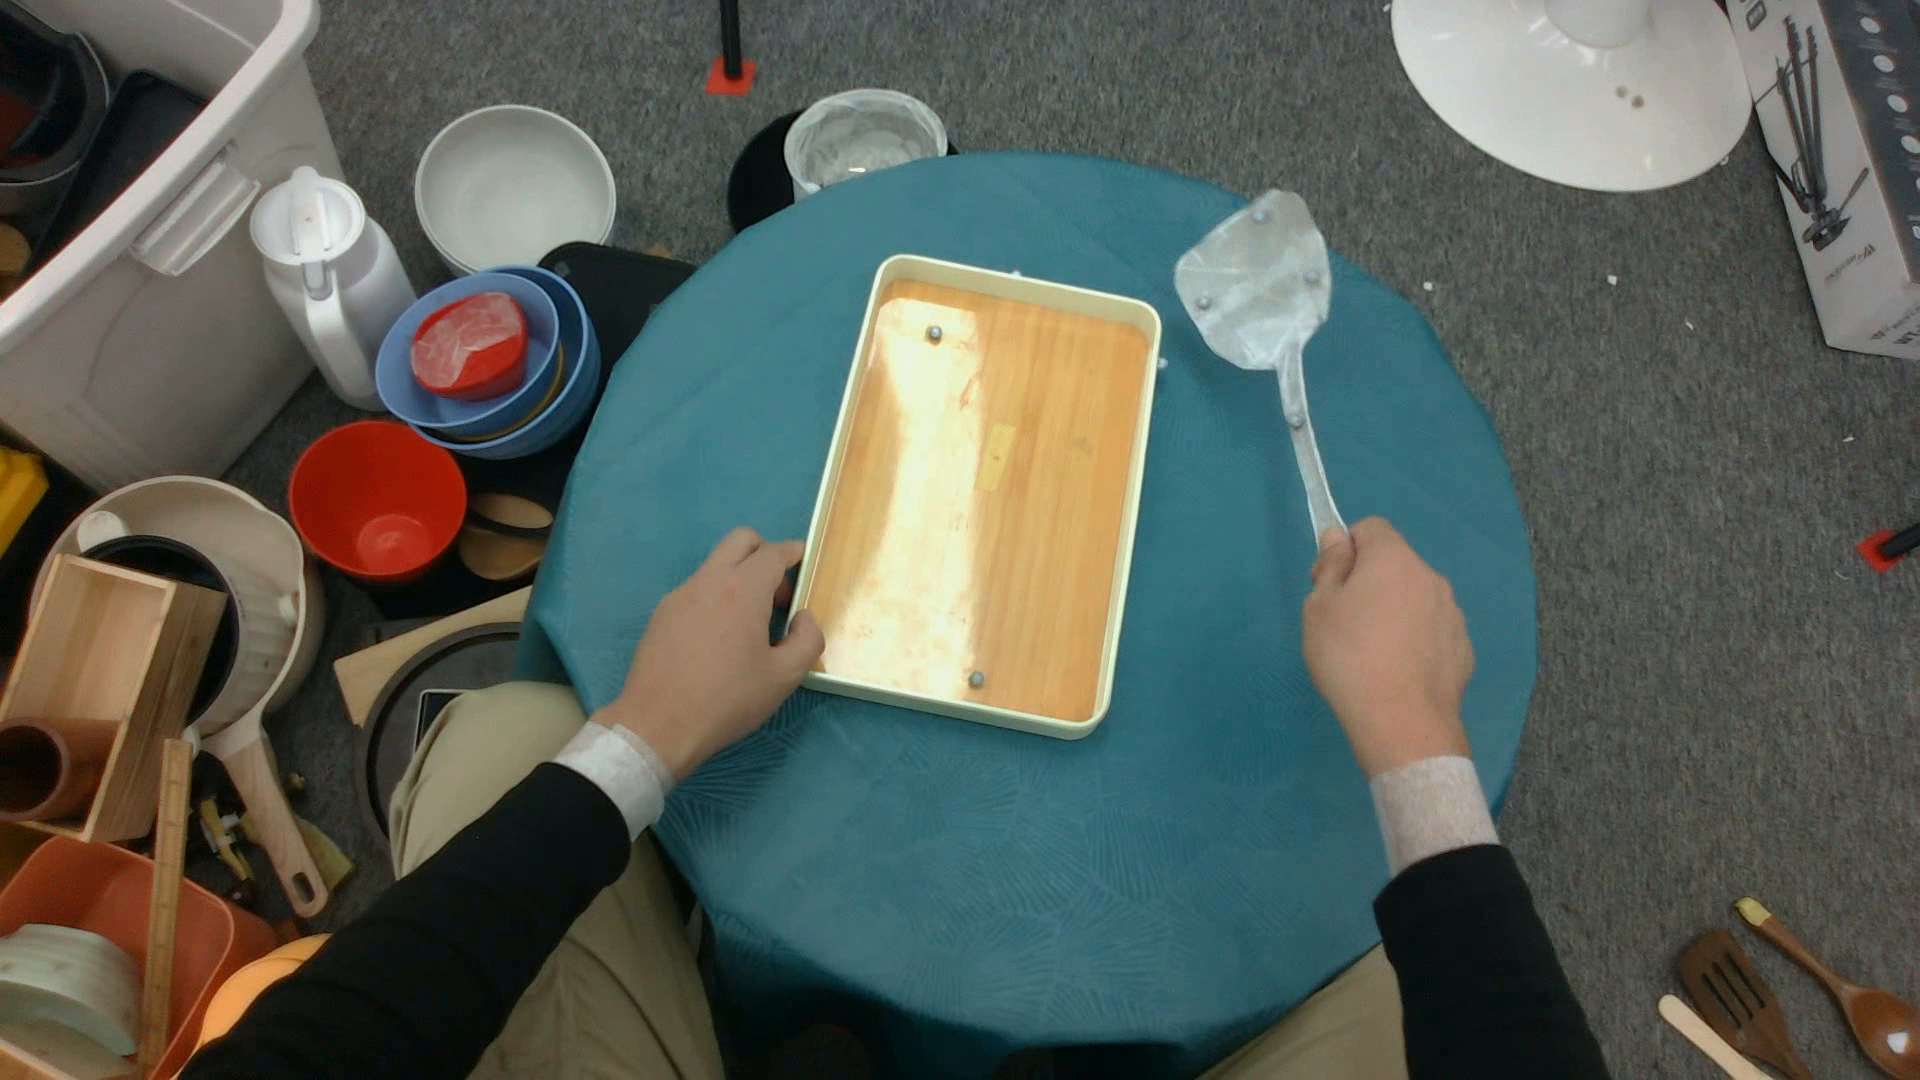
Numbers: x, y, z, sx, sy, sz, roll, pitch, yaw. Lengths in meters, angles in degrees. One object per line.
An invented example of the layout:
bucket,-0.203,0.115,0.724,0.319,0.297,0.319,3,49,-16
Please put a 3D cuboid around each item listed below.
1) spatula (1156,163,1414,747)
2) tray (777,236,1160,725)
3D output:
spatula,0.190,-0.058,0.777,0.045,0.098,0.366,17,50,-35
tray,0.012,-0.046,0.844,0.191,0.027,0.301,12,64,0
